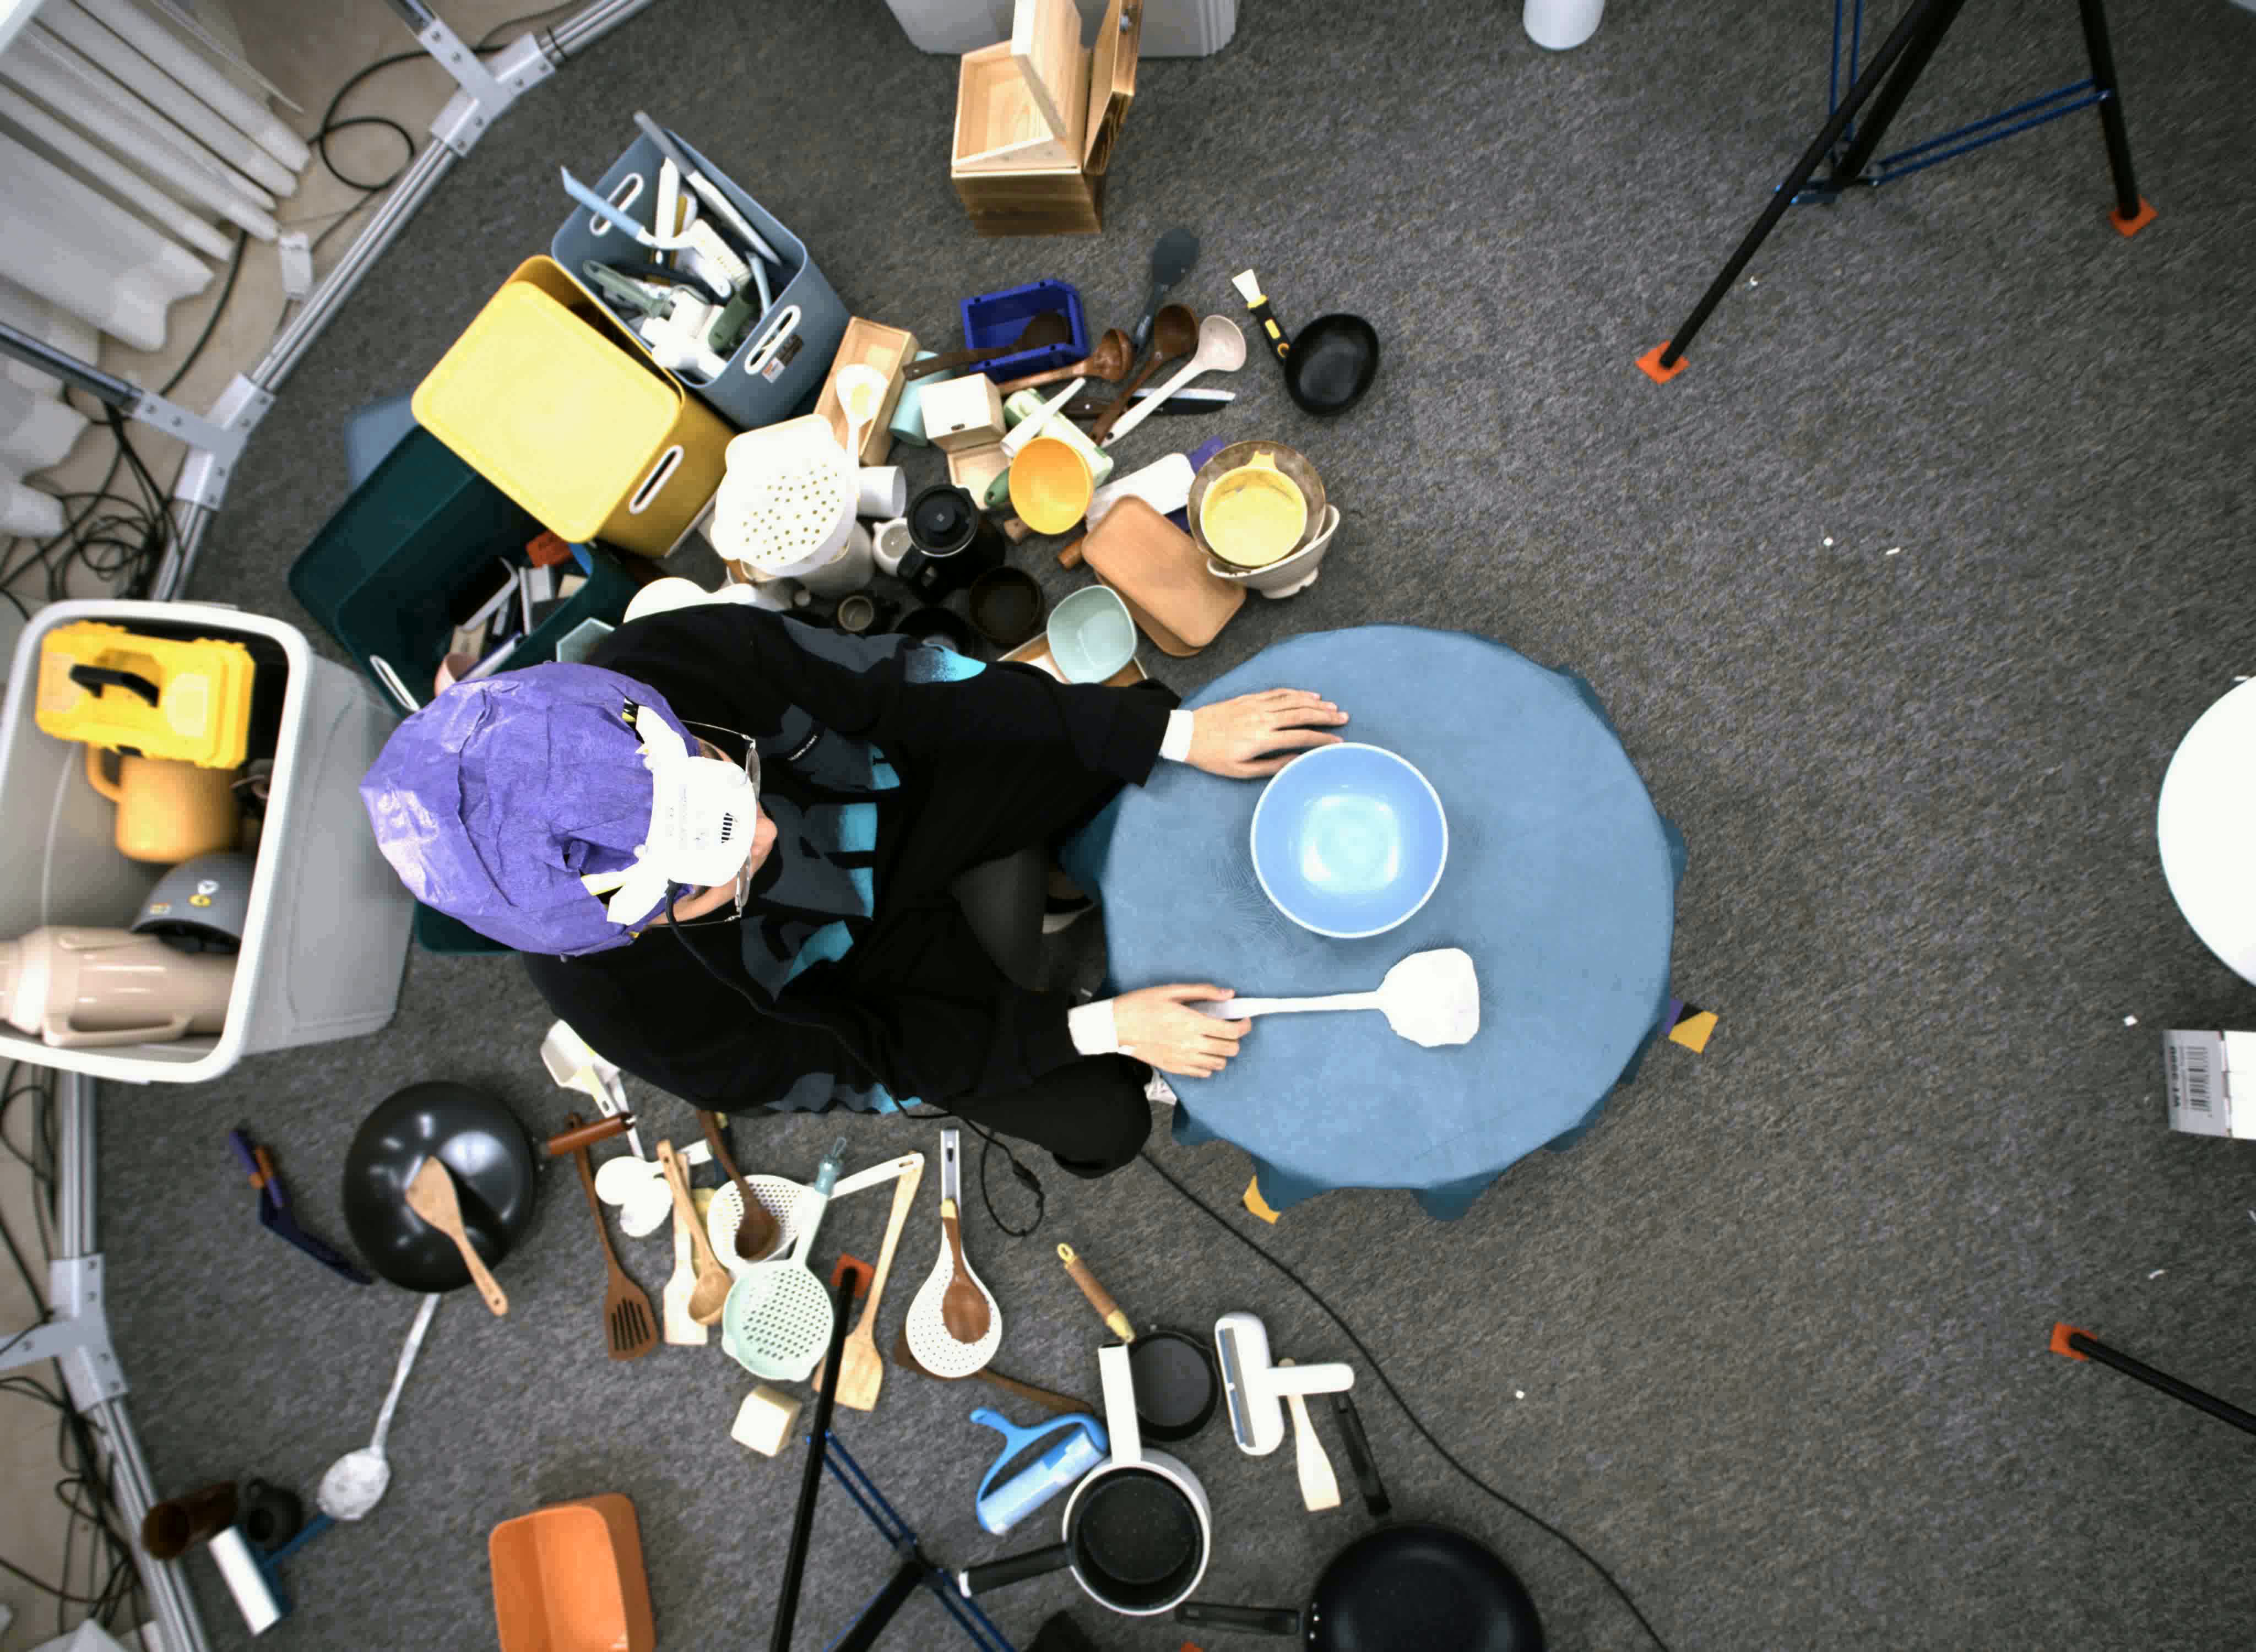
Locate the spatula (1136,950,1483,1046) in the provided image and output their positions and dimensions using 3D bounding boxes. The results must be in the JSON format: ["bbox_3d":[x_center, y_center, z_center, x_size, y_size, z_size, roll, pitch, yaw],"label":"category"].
[{"bbox_3d":[0.185,0.185,1.453,0.366,0.045,0.098,-3,87,10],"label":"spatula"}]

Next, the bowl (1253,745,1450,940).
[{"bbox_3d":[0.230,0.019,1.428,0.197,0.095,0.195,-1,87,10],"label":"bowl"}]
